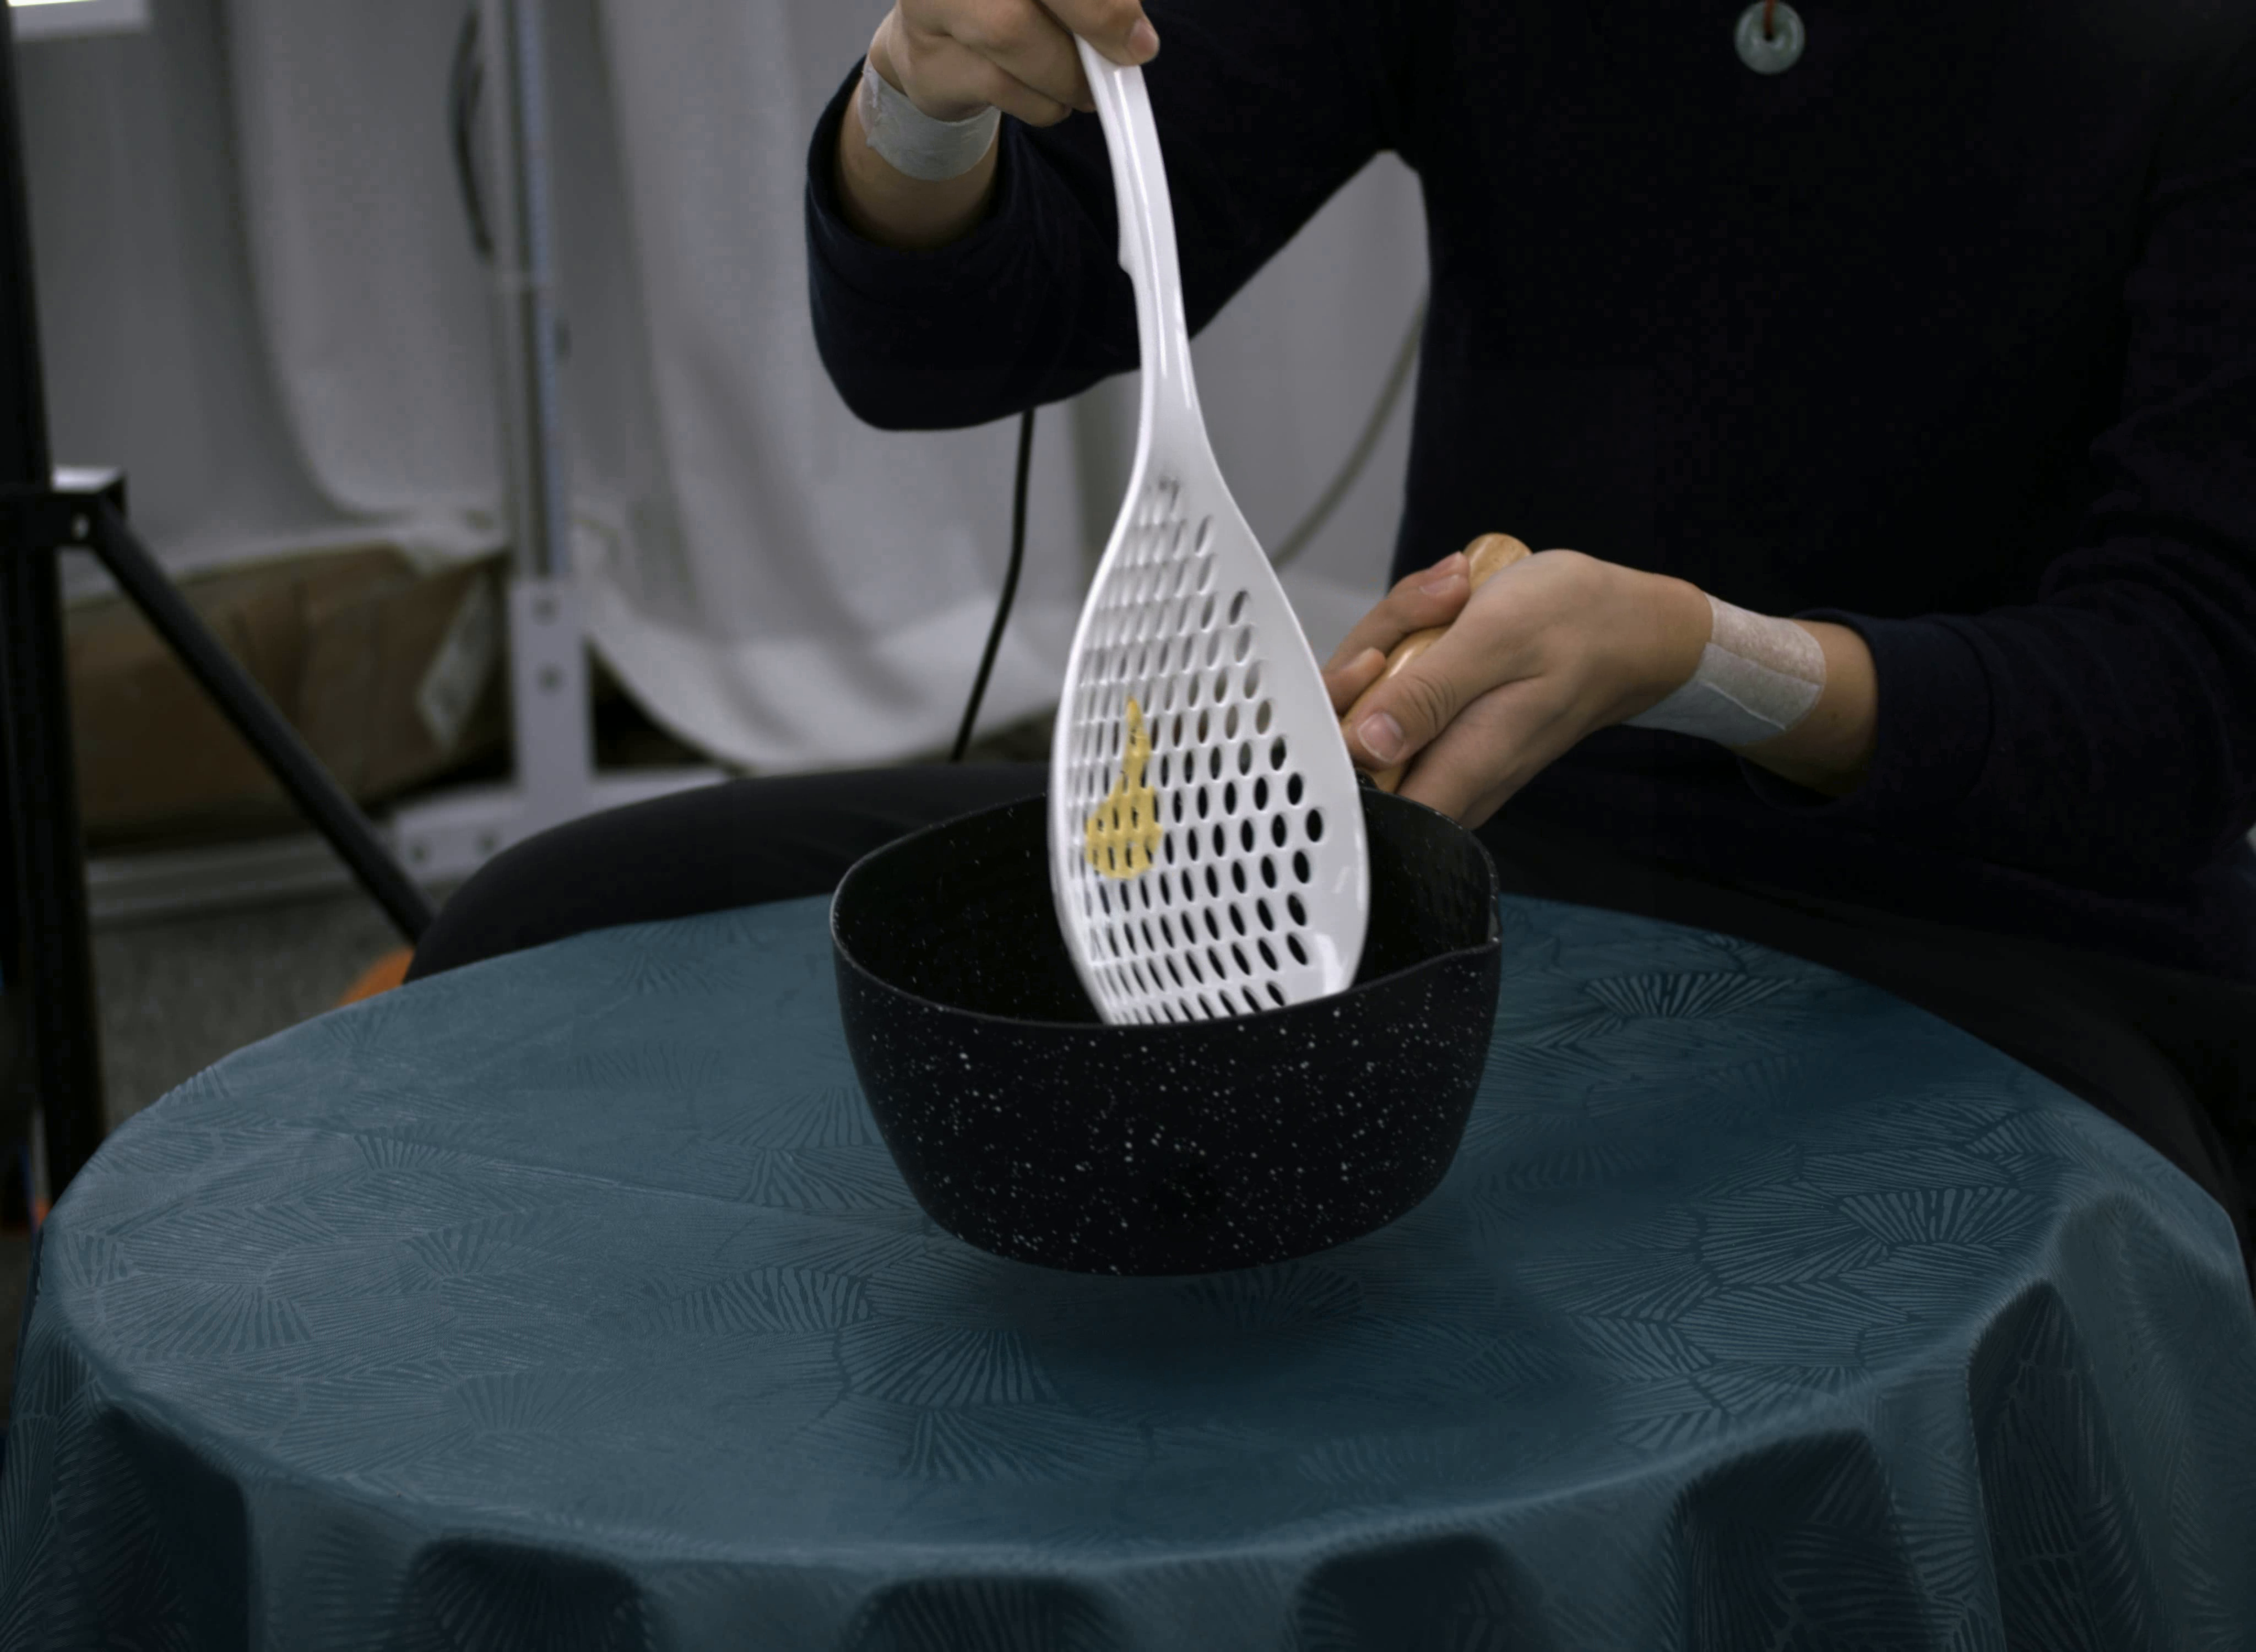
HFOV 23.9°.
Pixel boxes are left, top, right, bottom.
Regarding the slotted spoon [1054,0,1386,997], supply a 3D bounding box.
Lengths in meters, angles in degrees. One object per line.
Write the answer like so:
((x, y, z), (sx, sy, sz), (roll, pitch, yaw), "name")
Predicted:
((0.005, -0.102, 1.468), (0.051, 0.349, 0.133), (1, 8, 40), "slotted spoon")

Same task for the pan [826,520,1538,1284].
((0.045, 0.017, 1.530), (0.211, 0.108, 0.338), (5, 24, 26), "pan")
